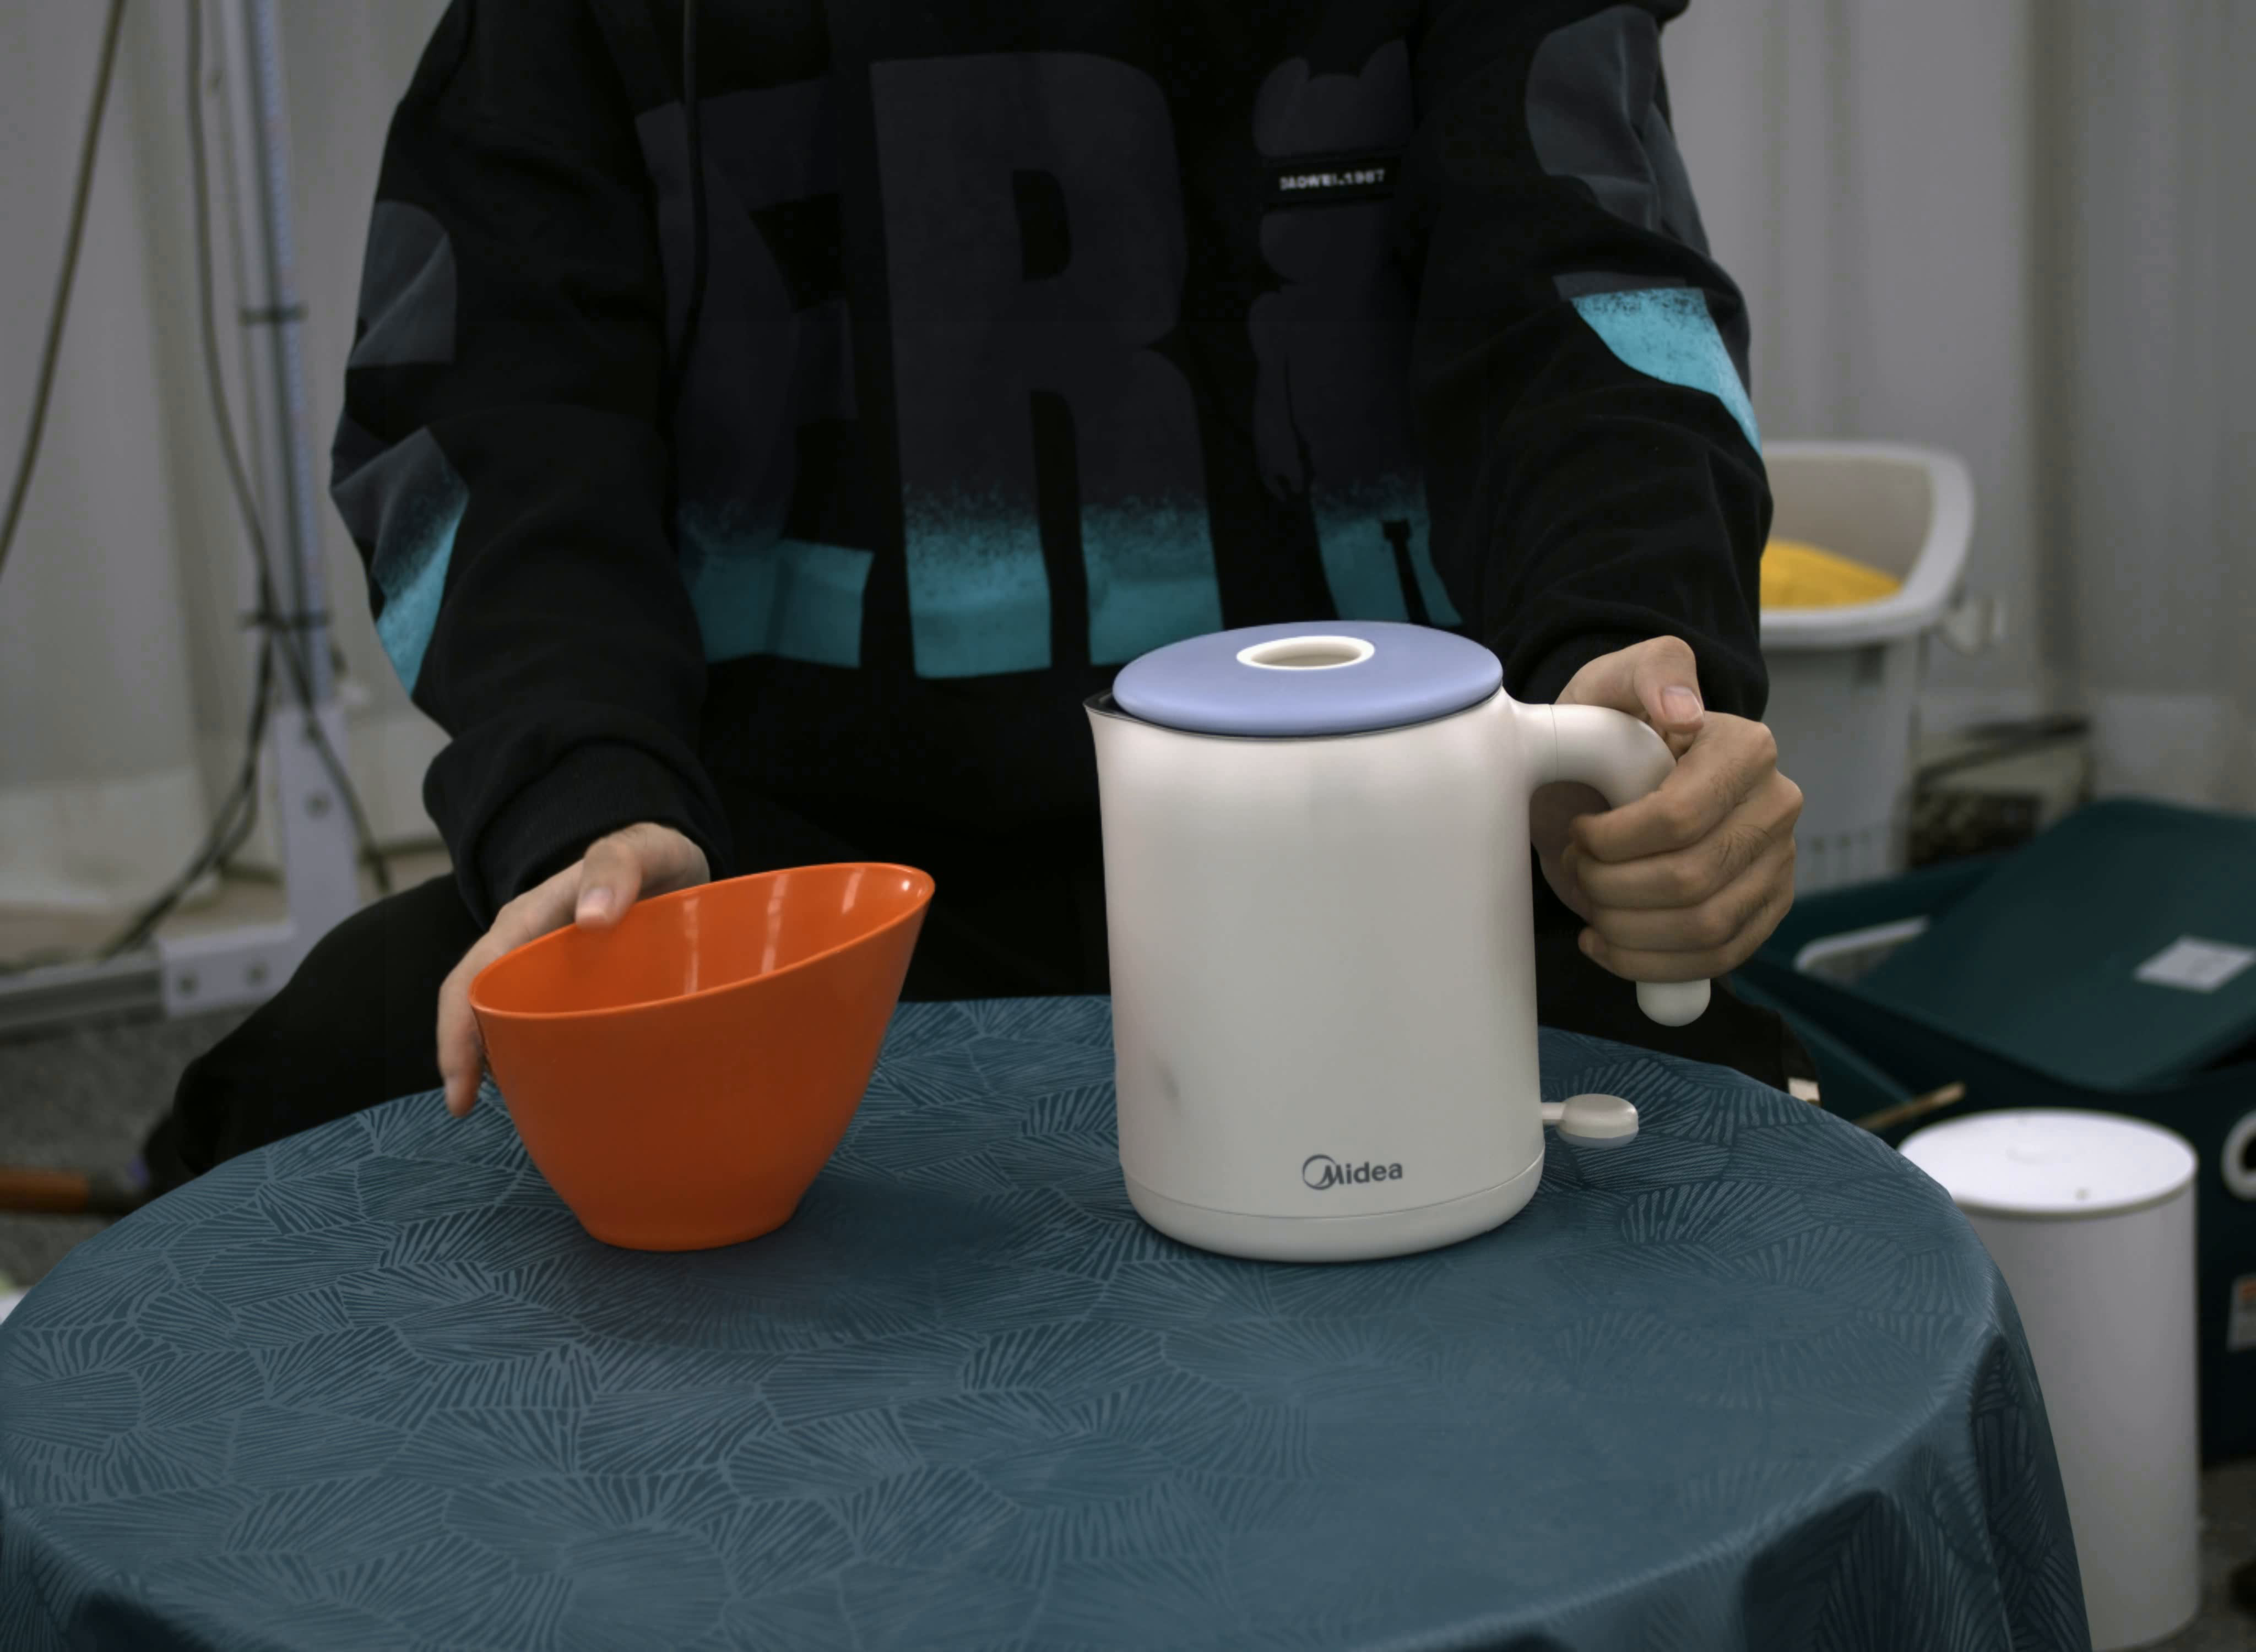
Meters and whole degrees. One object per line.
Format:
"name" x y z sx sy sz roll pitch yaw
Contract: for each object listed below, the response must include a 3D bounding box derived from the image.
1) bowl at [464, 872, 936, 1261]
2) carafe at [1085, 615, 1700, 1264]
"bowl" -0.130 0.076 1.694 0.147 0.104 0.149 -3 15 0
"carafe" 0.082 0.033 1.677 0.190 0.182 0.133 -2 15 -5
